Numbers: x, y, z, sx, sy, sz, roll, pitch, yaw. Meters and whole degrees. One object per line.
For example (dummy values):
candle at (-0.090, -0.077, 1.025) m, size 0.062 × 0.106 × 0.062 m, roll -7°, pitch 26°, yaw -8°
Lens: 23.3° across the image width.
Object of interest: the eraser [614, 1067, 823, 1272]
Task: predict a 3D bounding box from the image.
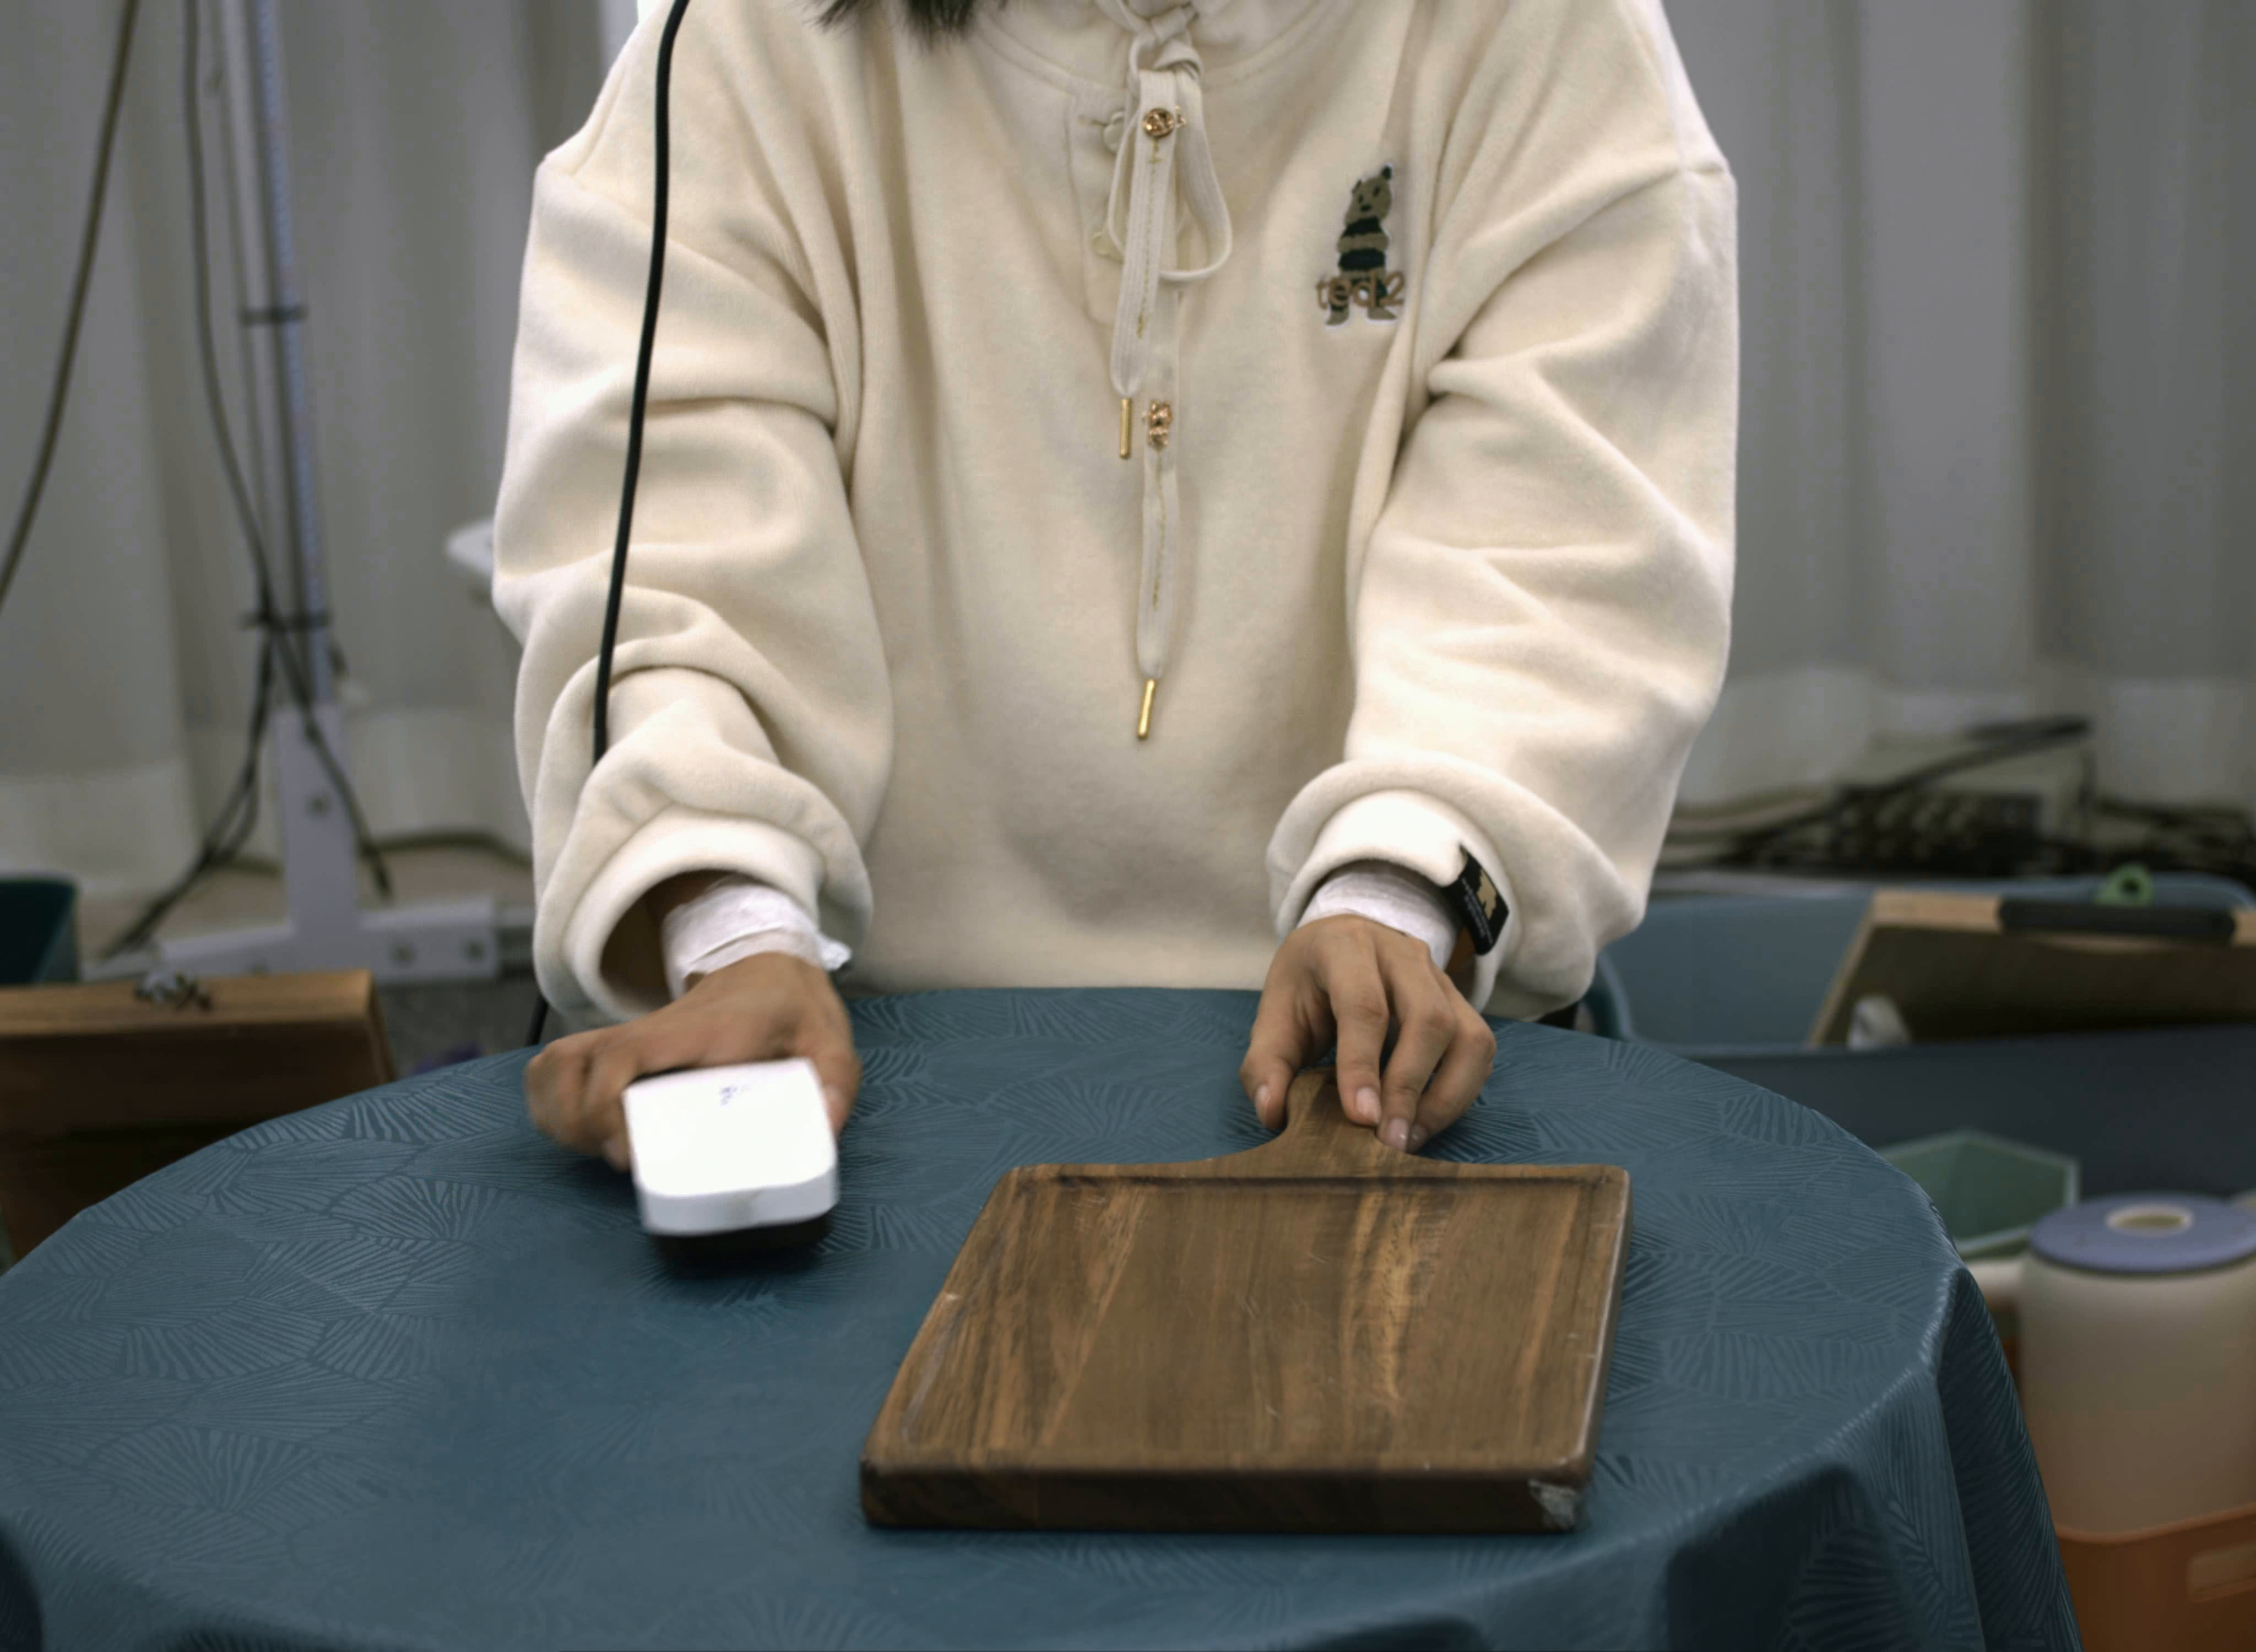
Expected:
eraser at (-0.127, 0.103, 1.704) m, size 0.063 × 0.034 × 0.132 m, roll -5°, pitch 15°, yaw -5°

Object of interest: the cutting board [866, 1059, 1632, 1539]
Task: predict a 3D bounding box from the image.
cutting board at (0.047, 0.131, 1.600) m, size 0.200 × 0.023 × 0.354 m, roll 0°, pitch 15°, yaw 8°
